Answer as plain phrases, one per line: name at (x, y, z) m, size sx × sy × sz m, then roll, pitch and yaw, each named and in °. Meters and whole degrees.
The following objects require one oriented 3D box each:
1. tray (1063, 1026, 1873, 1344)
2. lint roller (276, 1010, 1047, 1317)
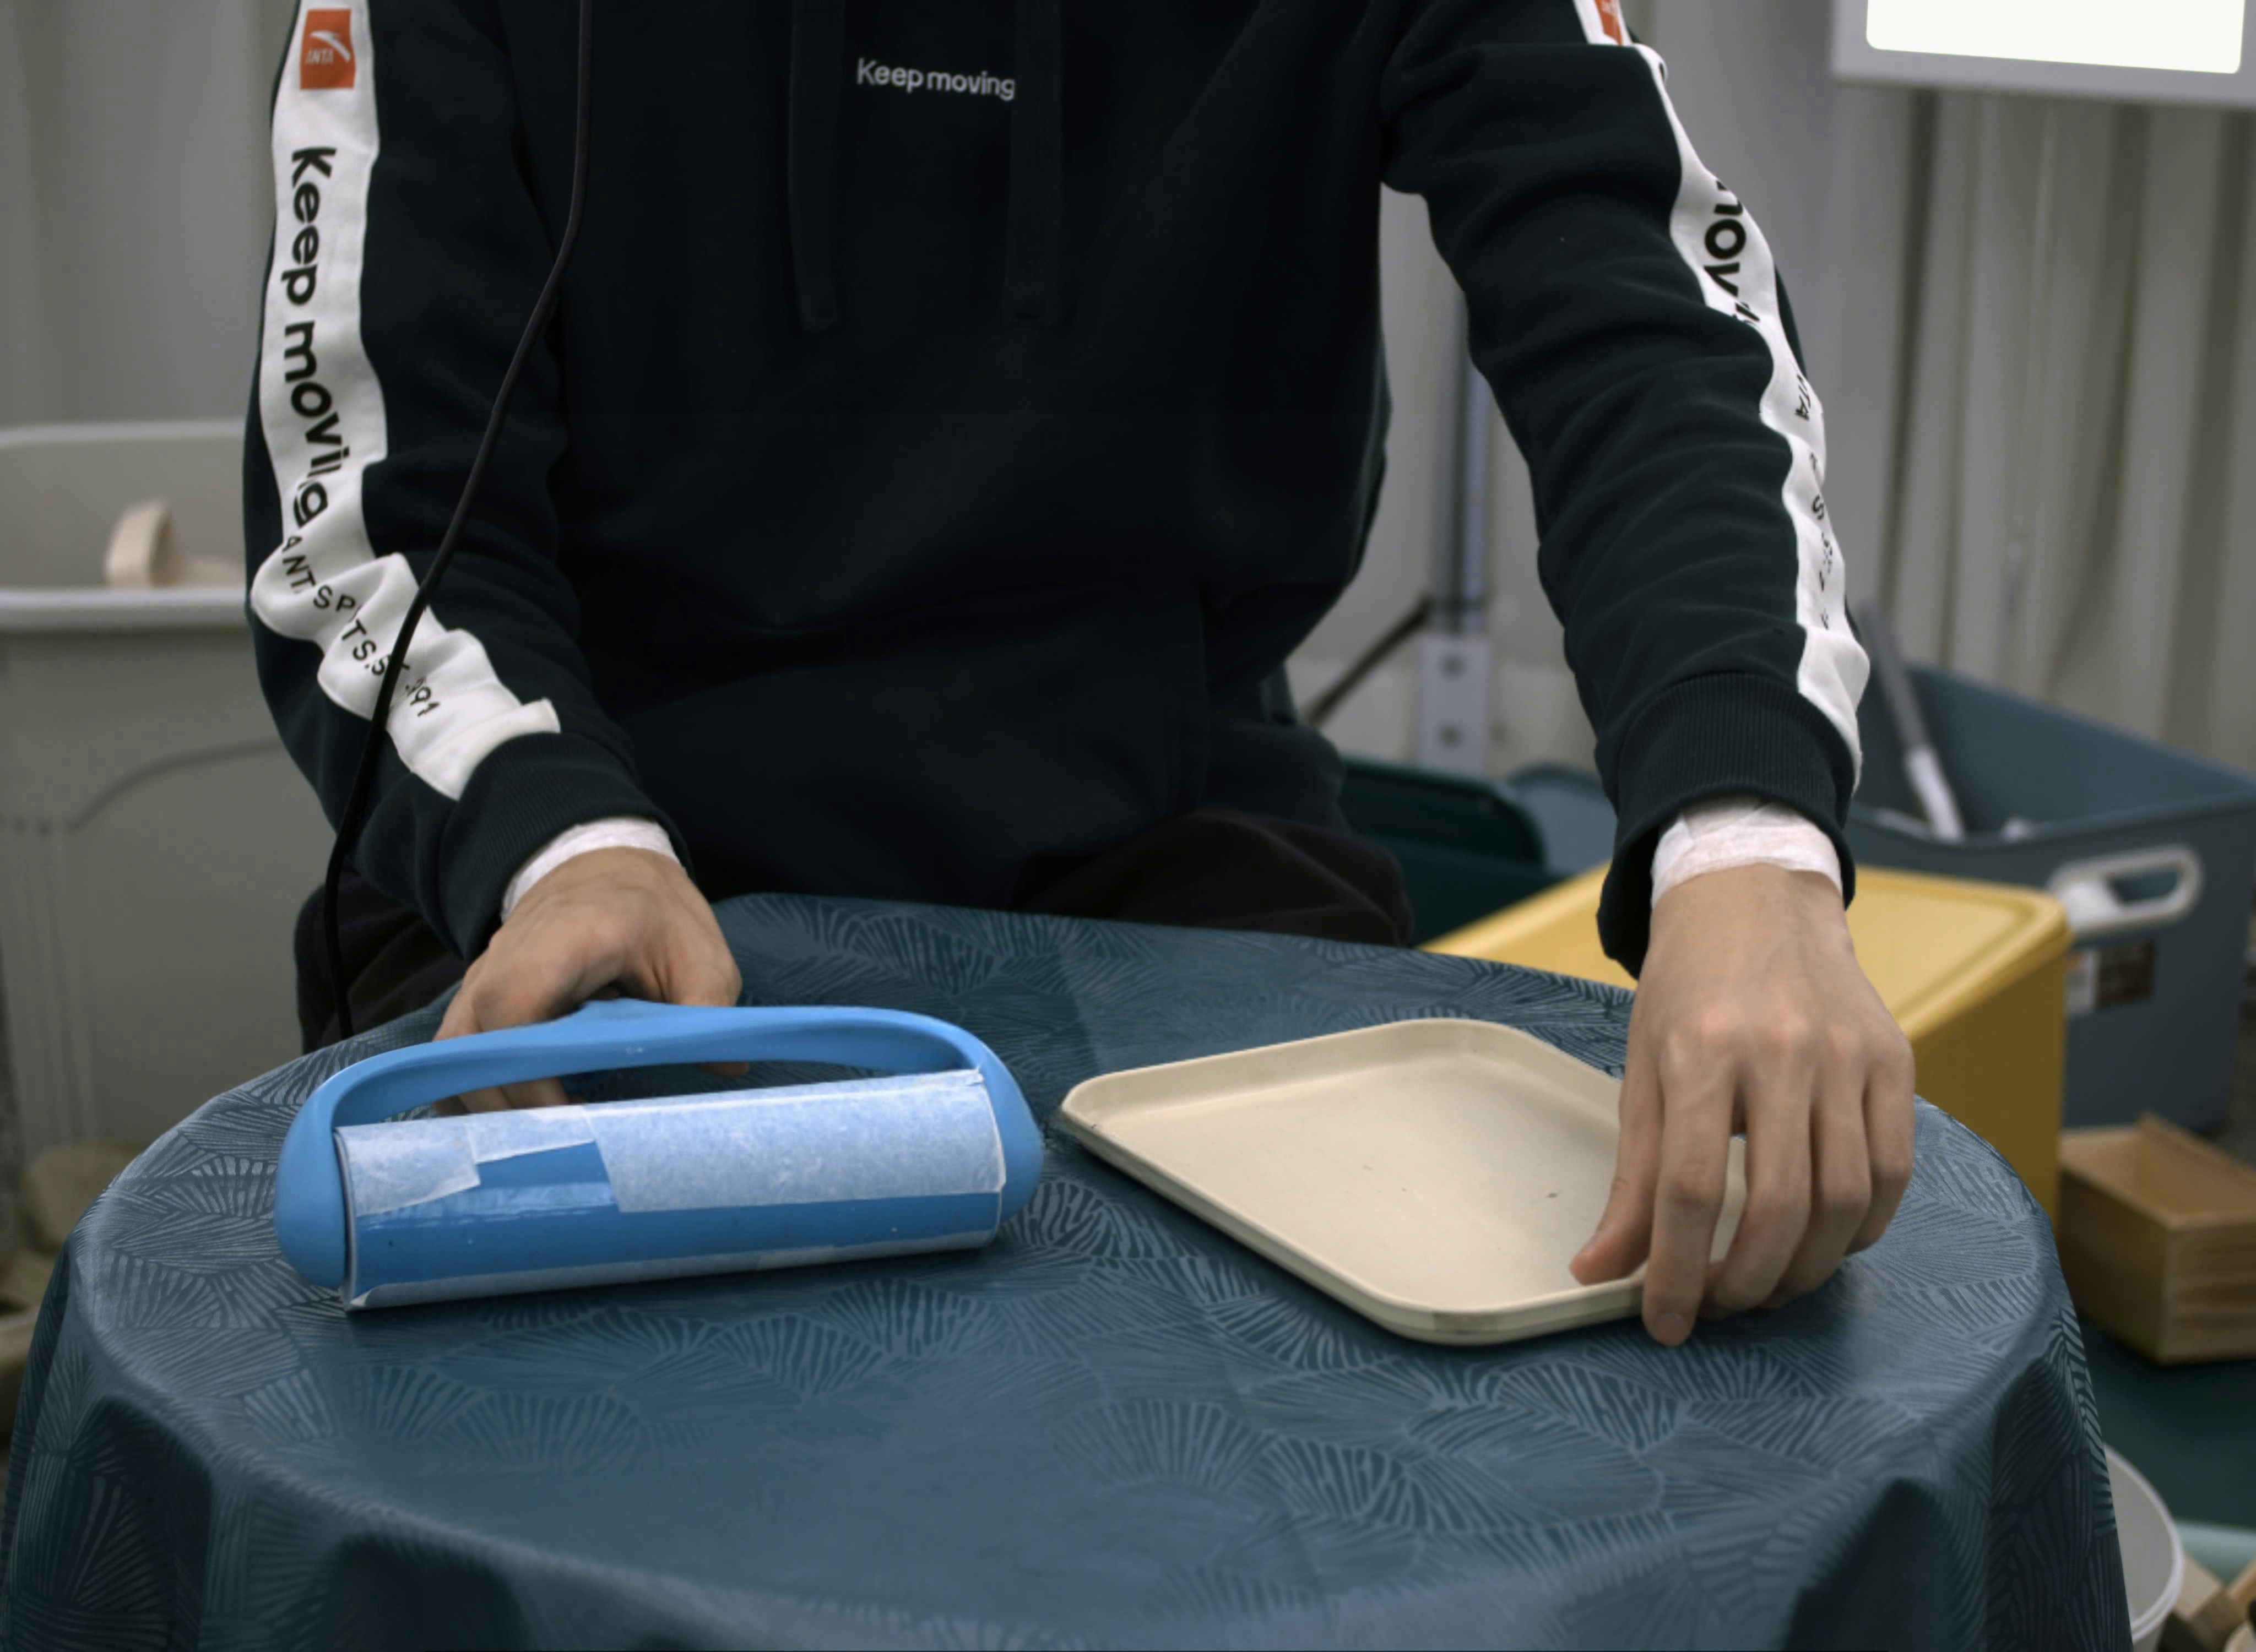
tray at (0.100, 0.108, 1.606) m, size 0.172 × 0.017 × 0.236 m, roll -7°, pitch 17°, yaw -29°
lint roller at (-0.154, 0.087, 1.589) m, size 0.229 × 0.068 × 0.178 m, roll -7°, pitch 21°, yaw -19°
